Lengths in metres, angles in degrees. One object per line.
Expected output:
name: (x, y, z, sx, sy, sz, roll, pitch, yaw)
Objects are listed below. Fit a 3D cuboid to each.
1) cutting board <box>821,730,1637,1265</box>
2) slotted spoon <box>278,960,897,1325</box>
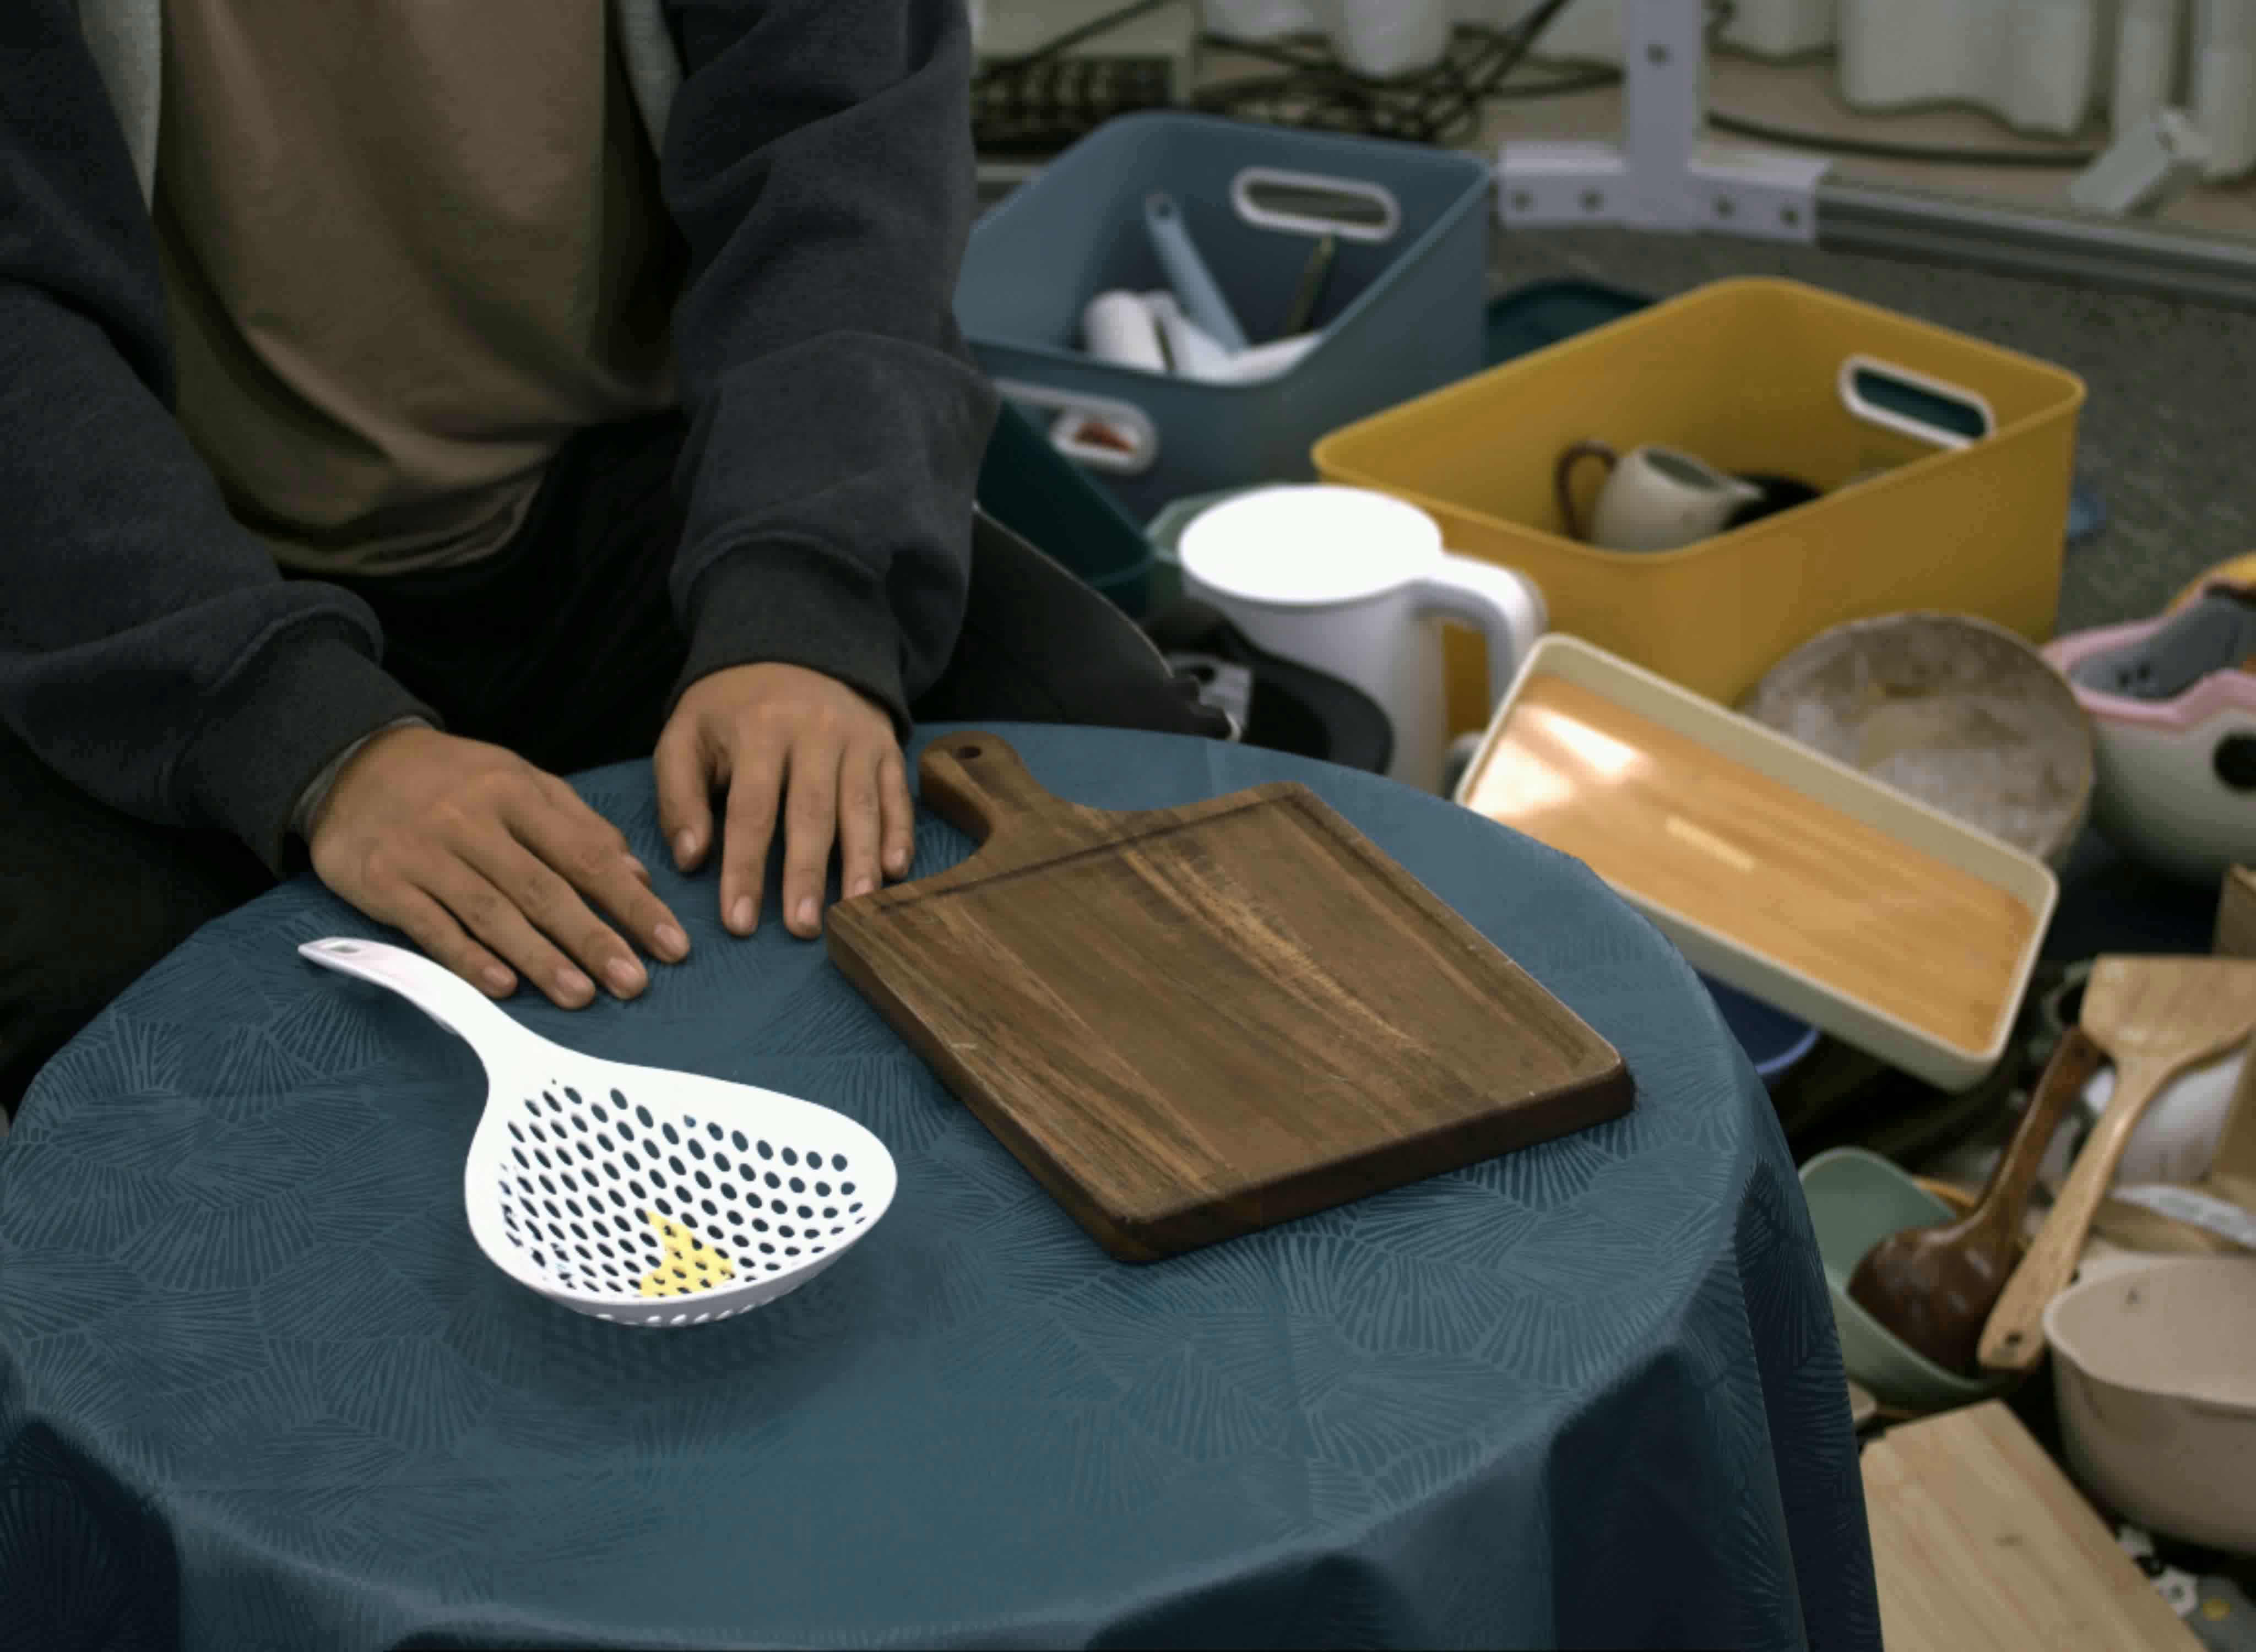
cutting board: (0.009, 0.043, 1.991, 0.202, 0.023, 0.354, -15, 30, -23)
slotted spoon: (-0.202, 0.092, 1.894, 0.138, 0.050, 0.349, -21, 32, -27)
